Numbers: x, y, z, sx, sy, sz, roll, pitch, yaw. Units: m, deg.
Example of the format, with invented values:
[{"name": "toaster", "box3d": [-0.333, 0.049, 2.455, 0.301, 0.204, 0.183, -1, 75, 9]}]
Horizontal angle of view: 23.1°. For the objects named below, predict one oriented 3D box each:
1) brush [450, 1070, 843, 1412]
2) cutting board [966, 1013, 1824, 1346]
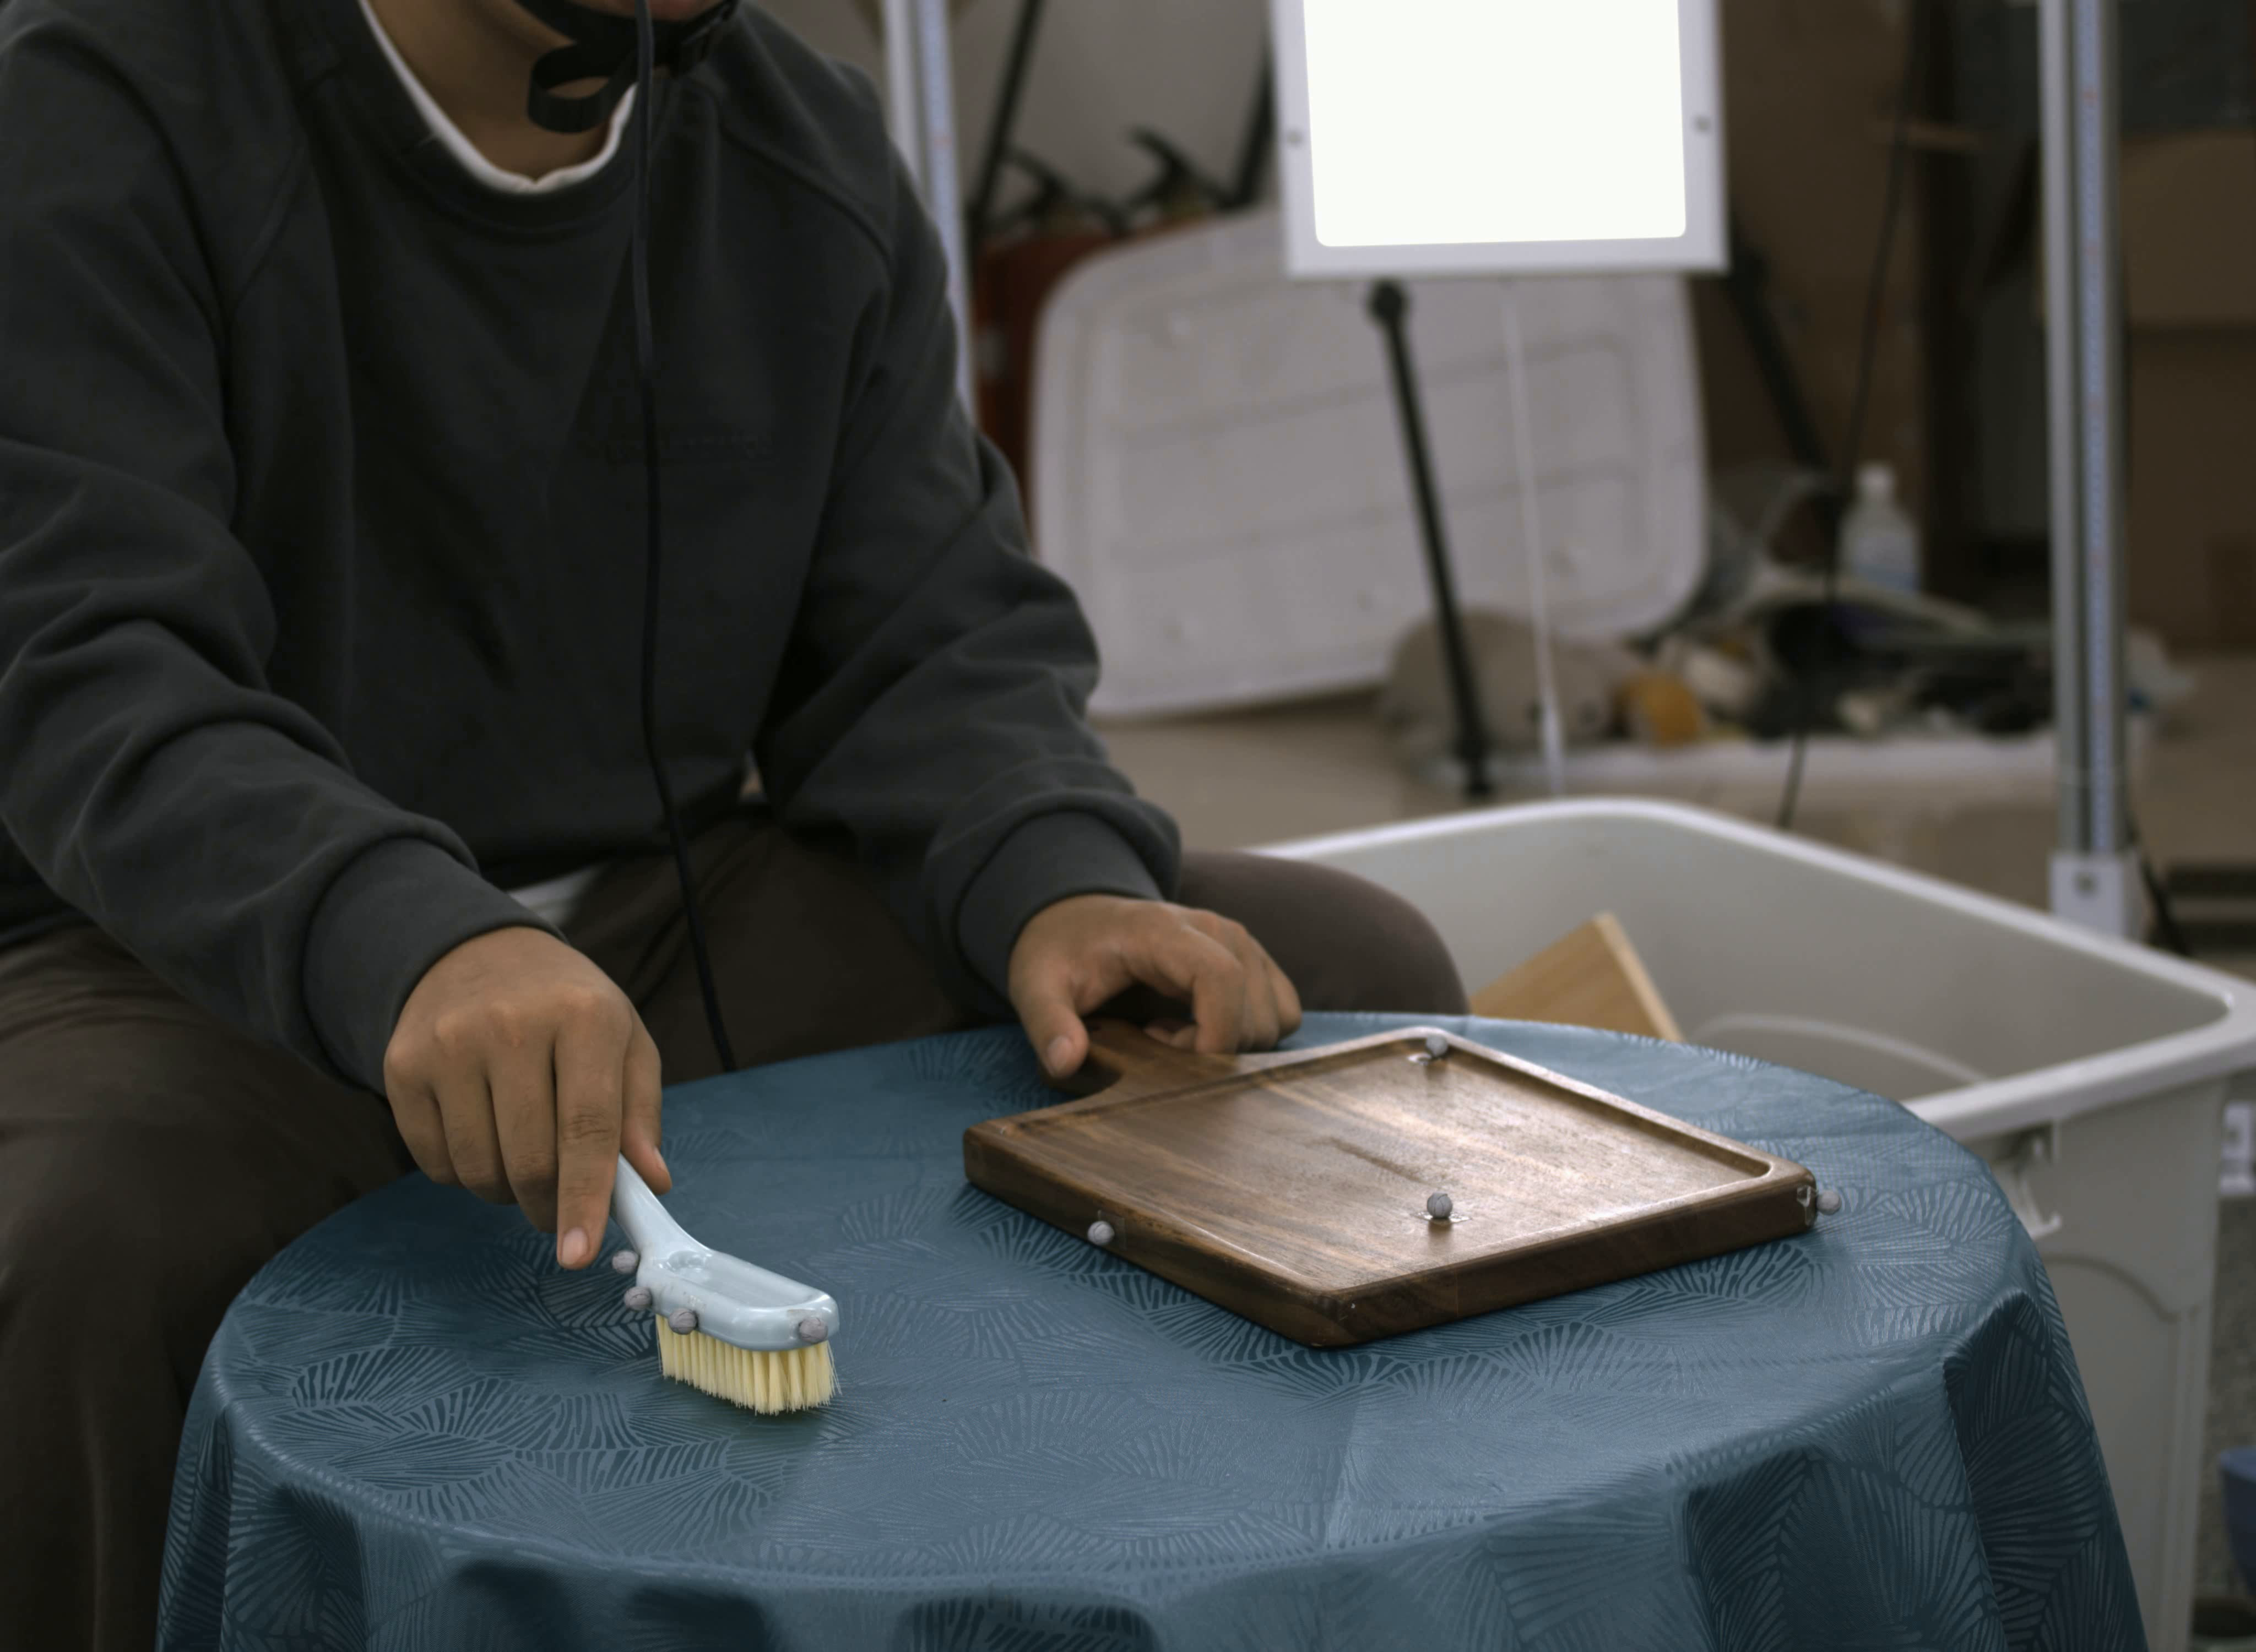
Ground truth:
[{"name": "brush", "box3d": [-0.160, 0.133, 1.783, 0.037, 0.050, 0.232, -12, 26, -32]}, {"name": "cutting board", "box3d": [0.063, 0.109, 1.904, 0.197, 0.023, 0.358, -11, 15, -26]}]
